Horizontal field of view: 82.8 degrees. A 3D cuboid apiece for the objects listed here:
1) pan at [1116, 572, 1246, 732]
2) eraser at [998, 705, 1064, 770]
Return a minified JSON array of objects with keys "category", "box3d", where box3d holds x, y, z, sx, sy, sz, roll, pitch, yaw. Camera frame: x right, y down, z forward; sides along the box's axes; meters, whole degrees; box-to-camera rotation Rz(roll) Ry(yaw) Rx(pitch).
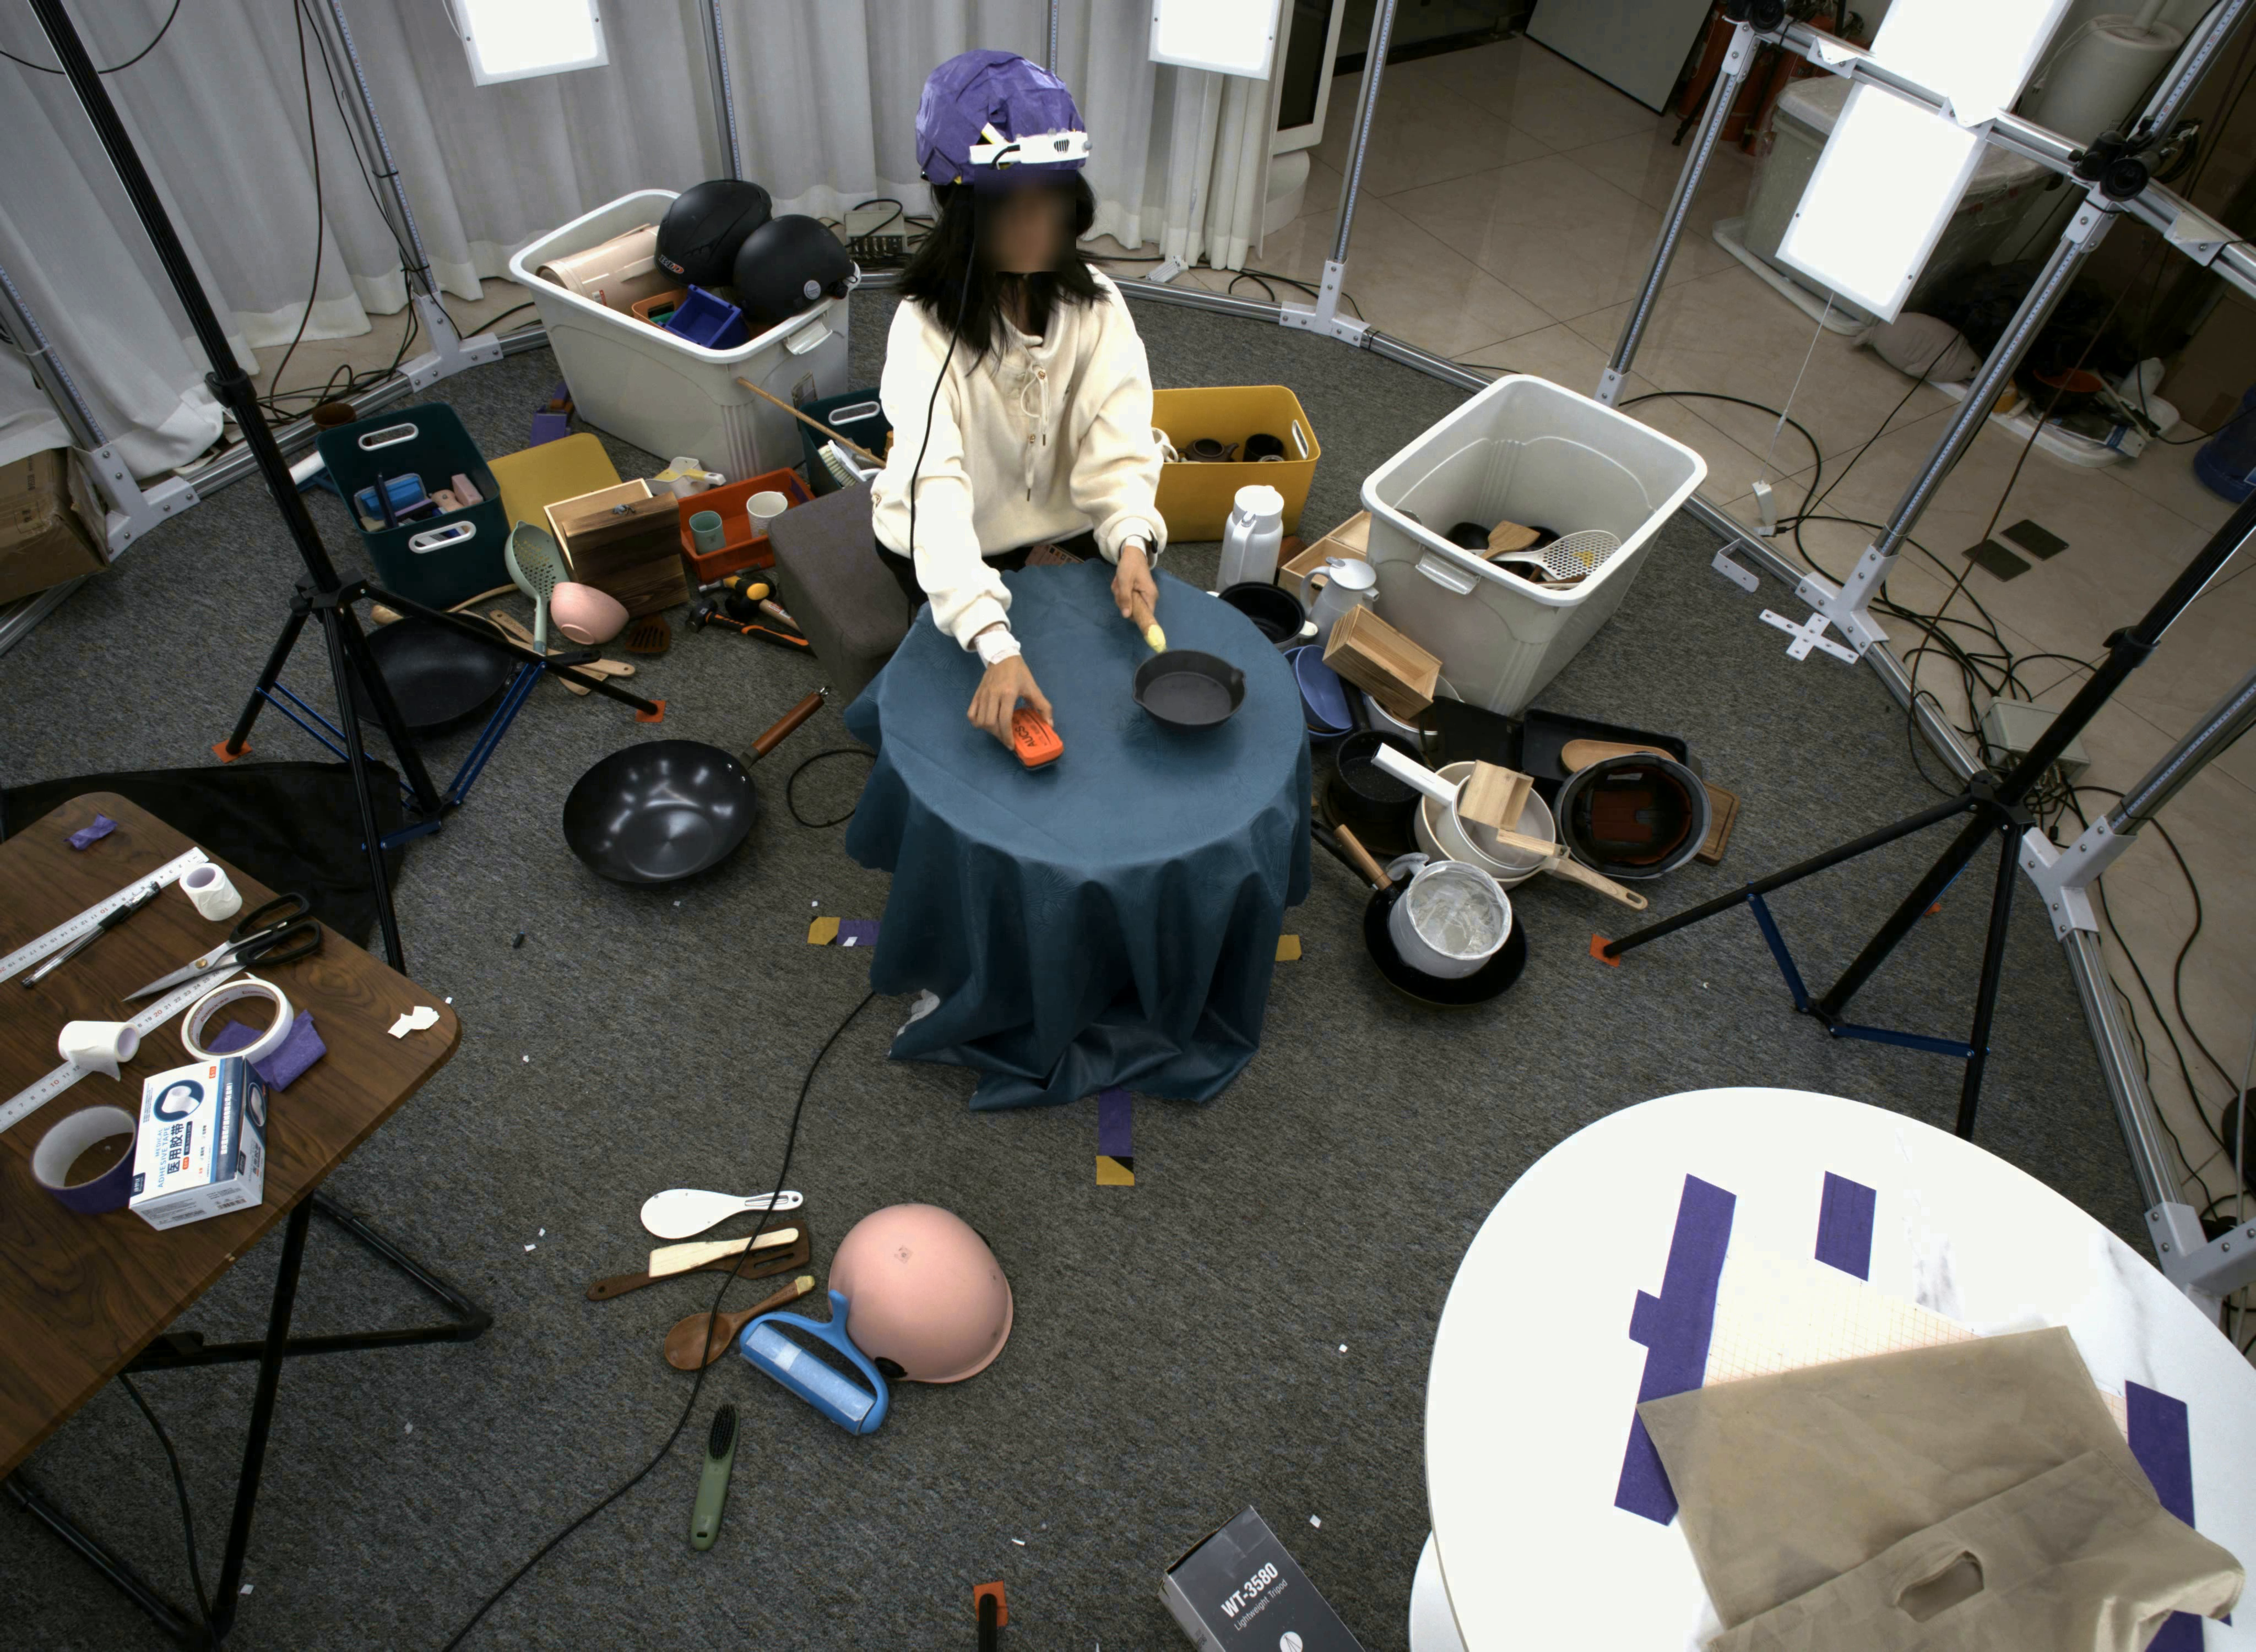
[{"category":"pan","box3d":[0.052,-0.249,1.824,0.169,0.048,0.332,-14,50,-17]},{"category":"eraser","box3d":[-0.132,-0.121,1.735,0.059,0.022,0.110,-21,43,-15]}]
